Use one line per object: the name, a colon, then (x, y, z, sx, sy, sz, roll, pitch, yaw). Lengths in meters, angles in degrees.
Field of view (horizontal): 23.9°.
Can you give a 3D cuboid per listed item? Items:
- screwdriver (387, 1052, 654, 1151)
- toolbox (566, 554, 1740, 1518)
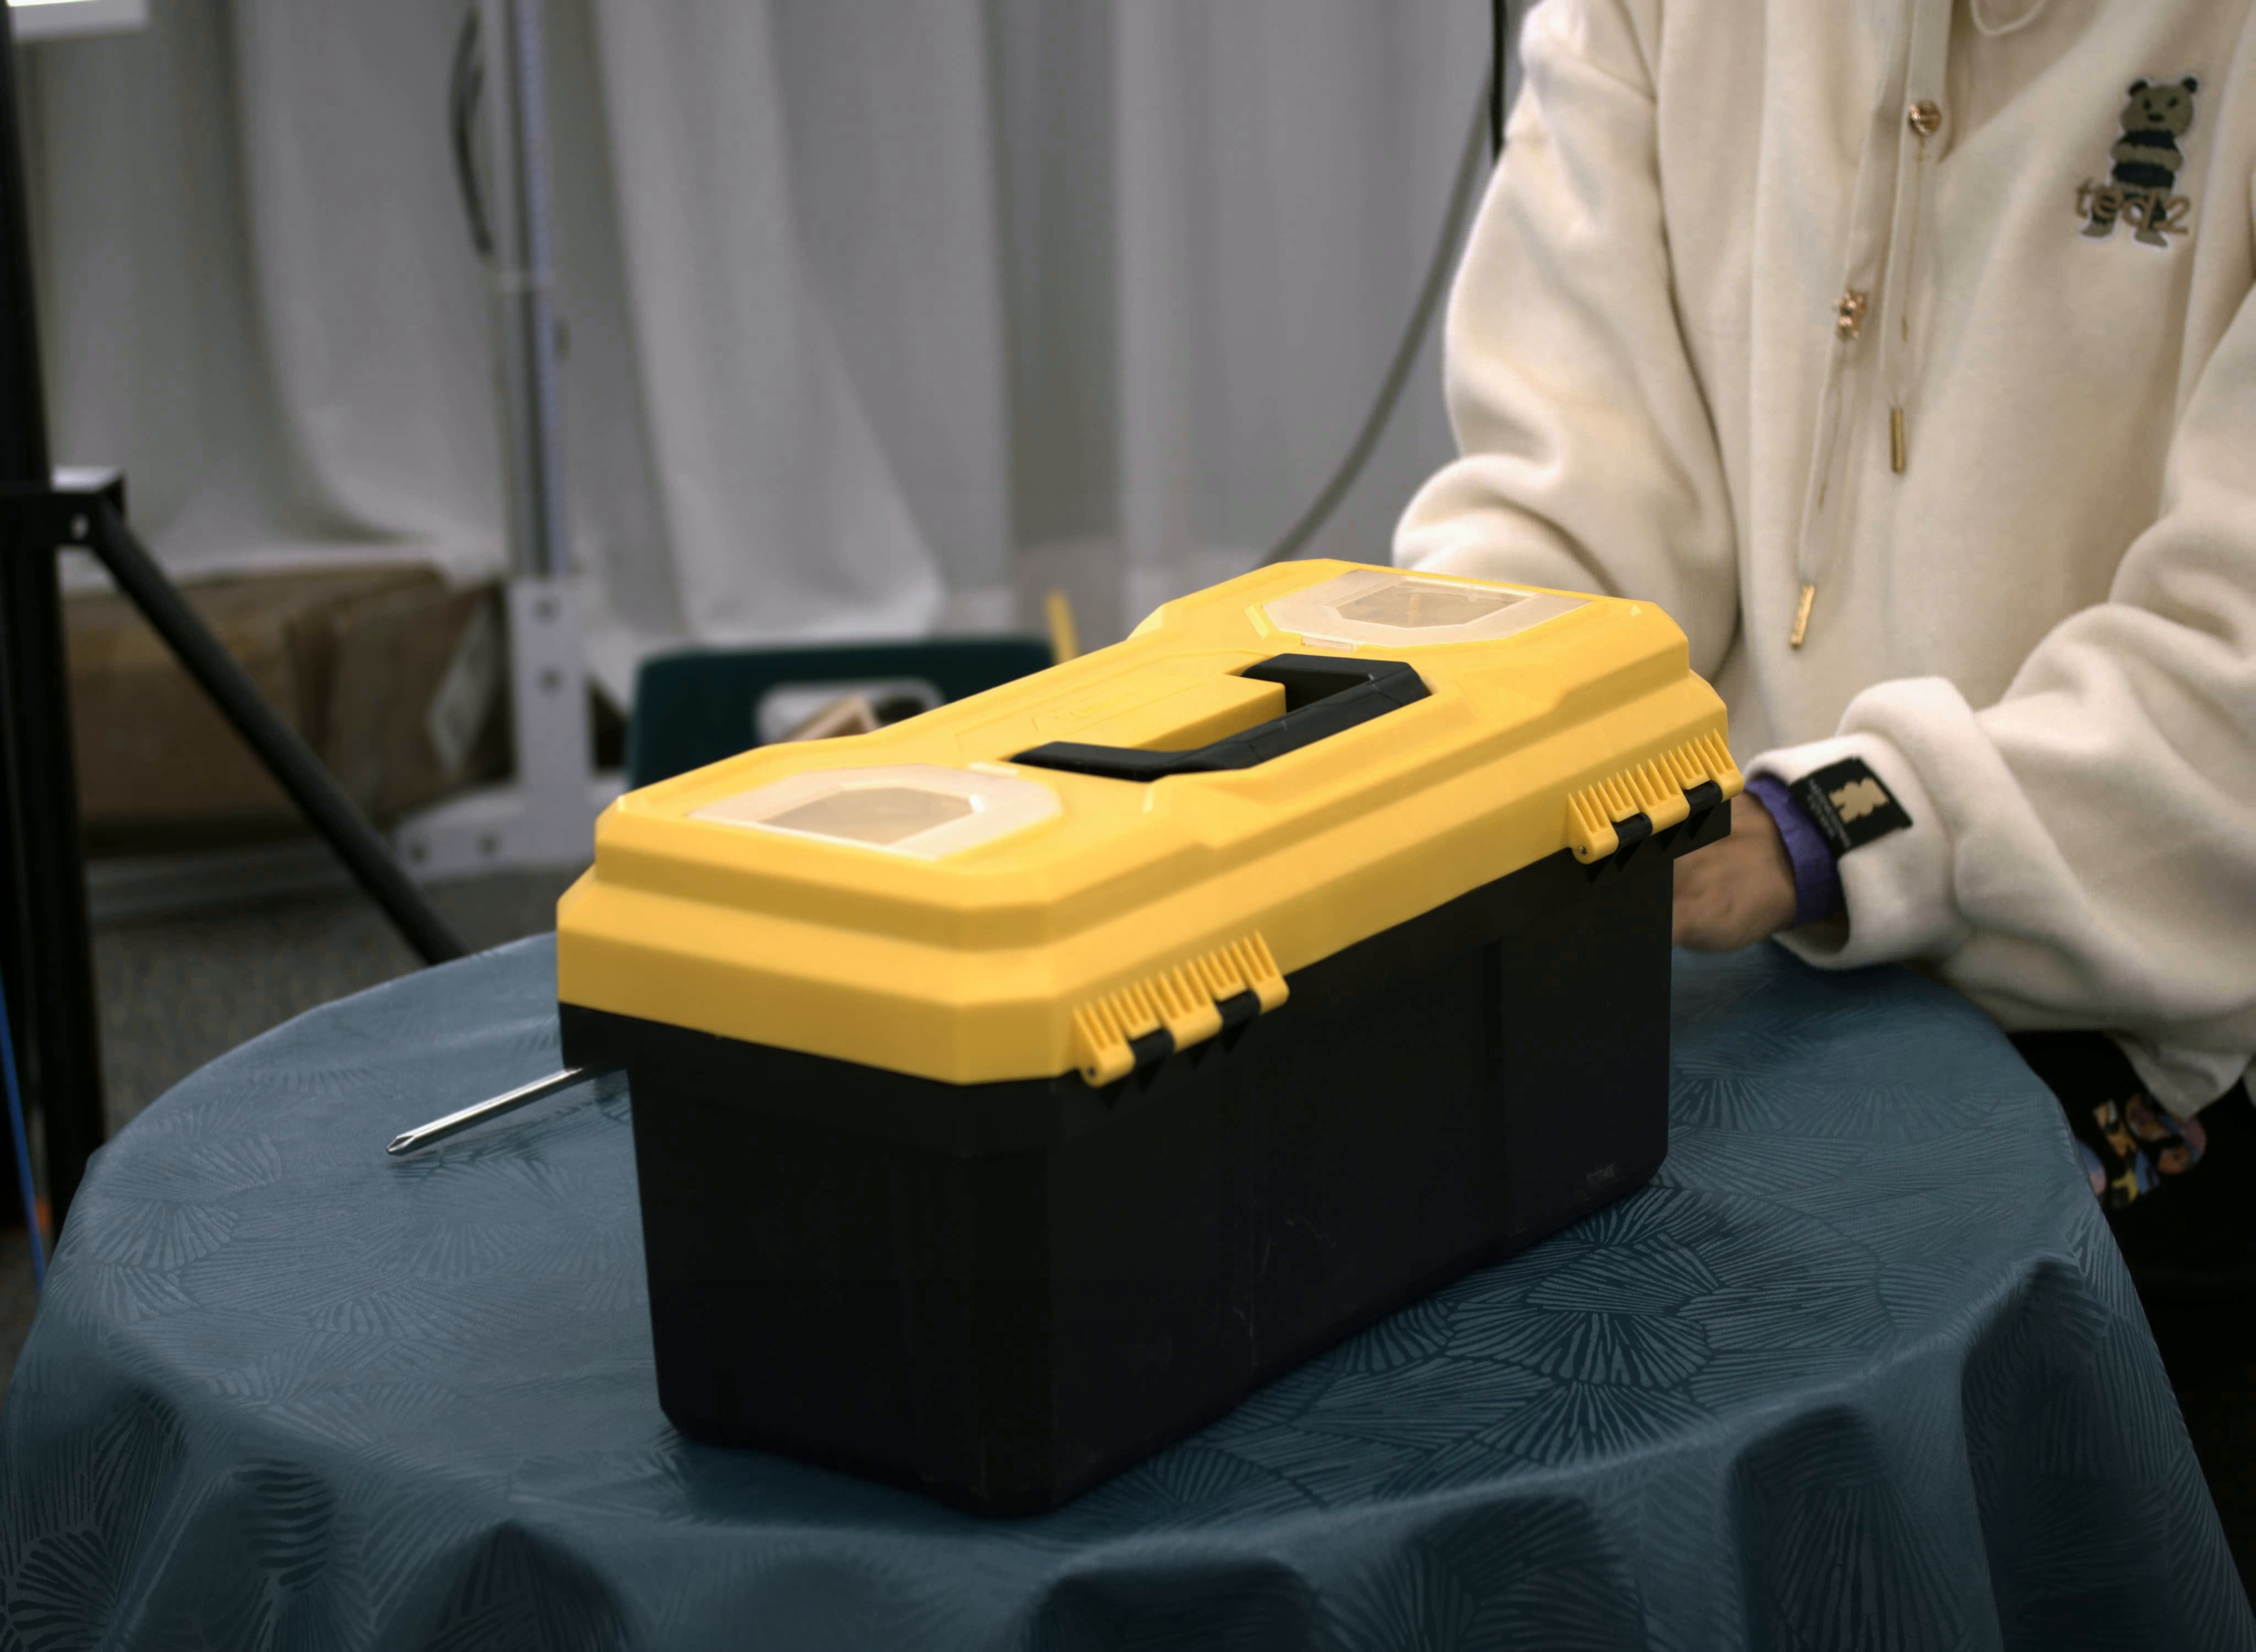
screwdriver: (-0.156, 0.066, 1.673, 0.192, 0.031, 0.032, -18, 22, -41)
toolbox: (0.015, 0.047, 1.451, 0.185, 0.173, 0.344, 10, 20, 37)
